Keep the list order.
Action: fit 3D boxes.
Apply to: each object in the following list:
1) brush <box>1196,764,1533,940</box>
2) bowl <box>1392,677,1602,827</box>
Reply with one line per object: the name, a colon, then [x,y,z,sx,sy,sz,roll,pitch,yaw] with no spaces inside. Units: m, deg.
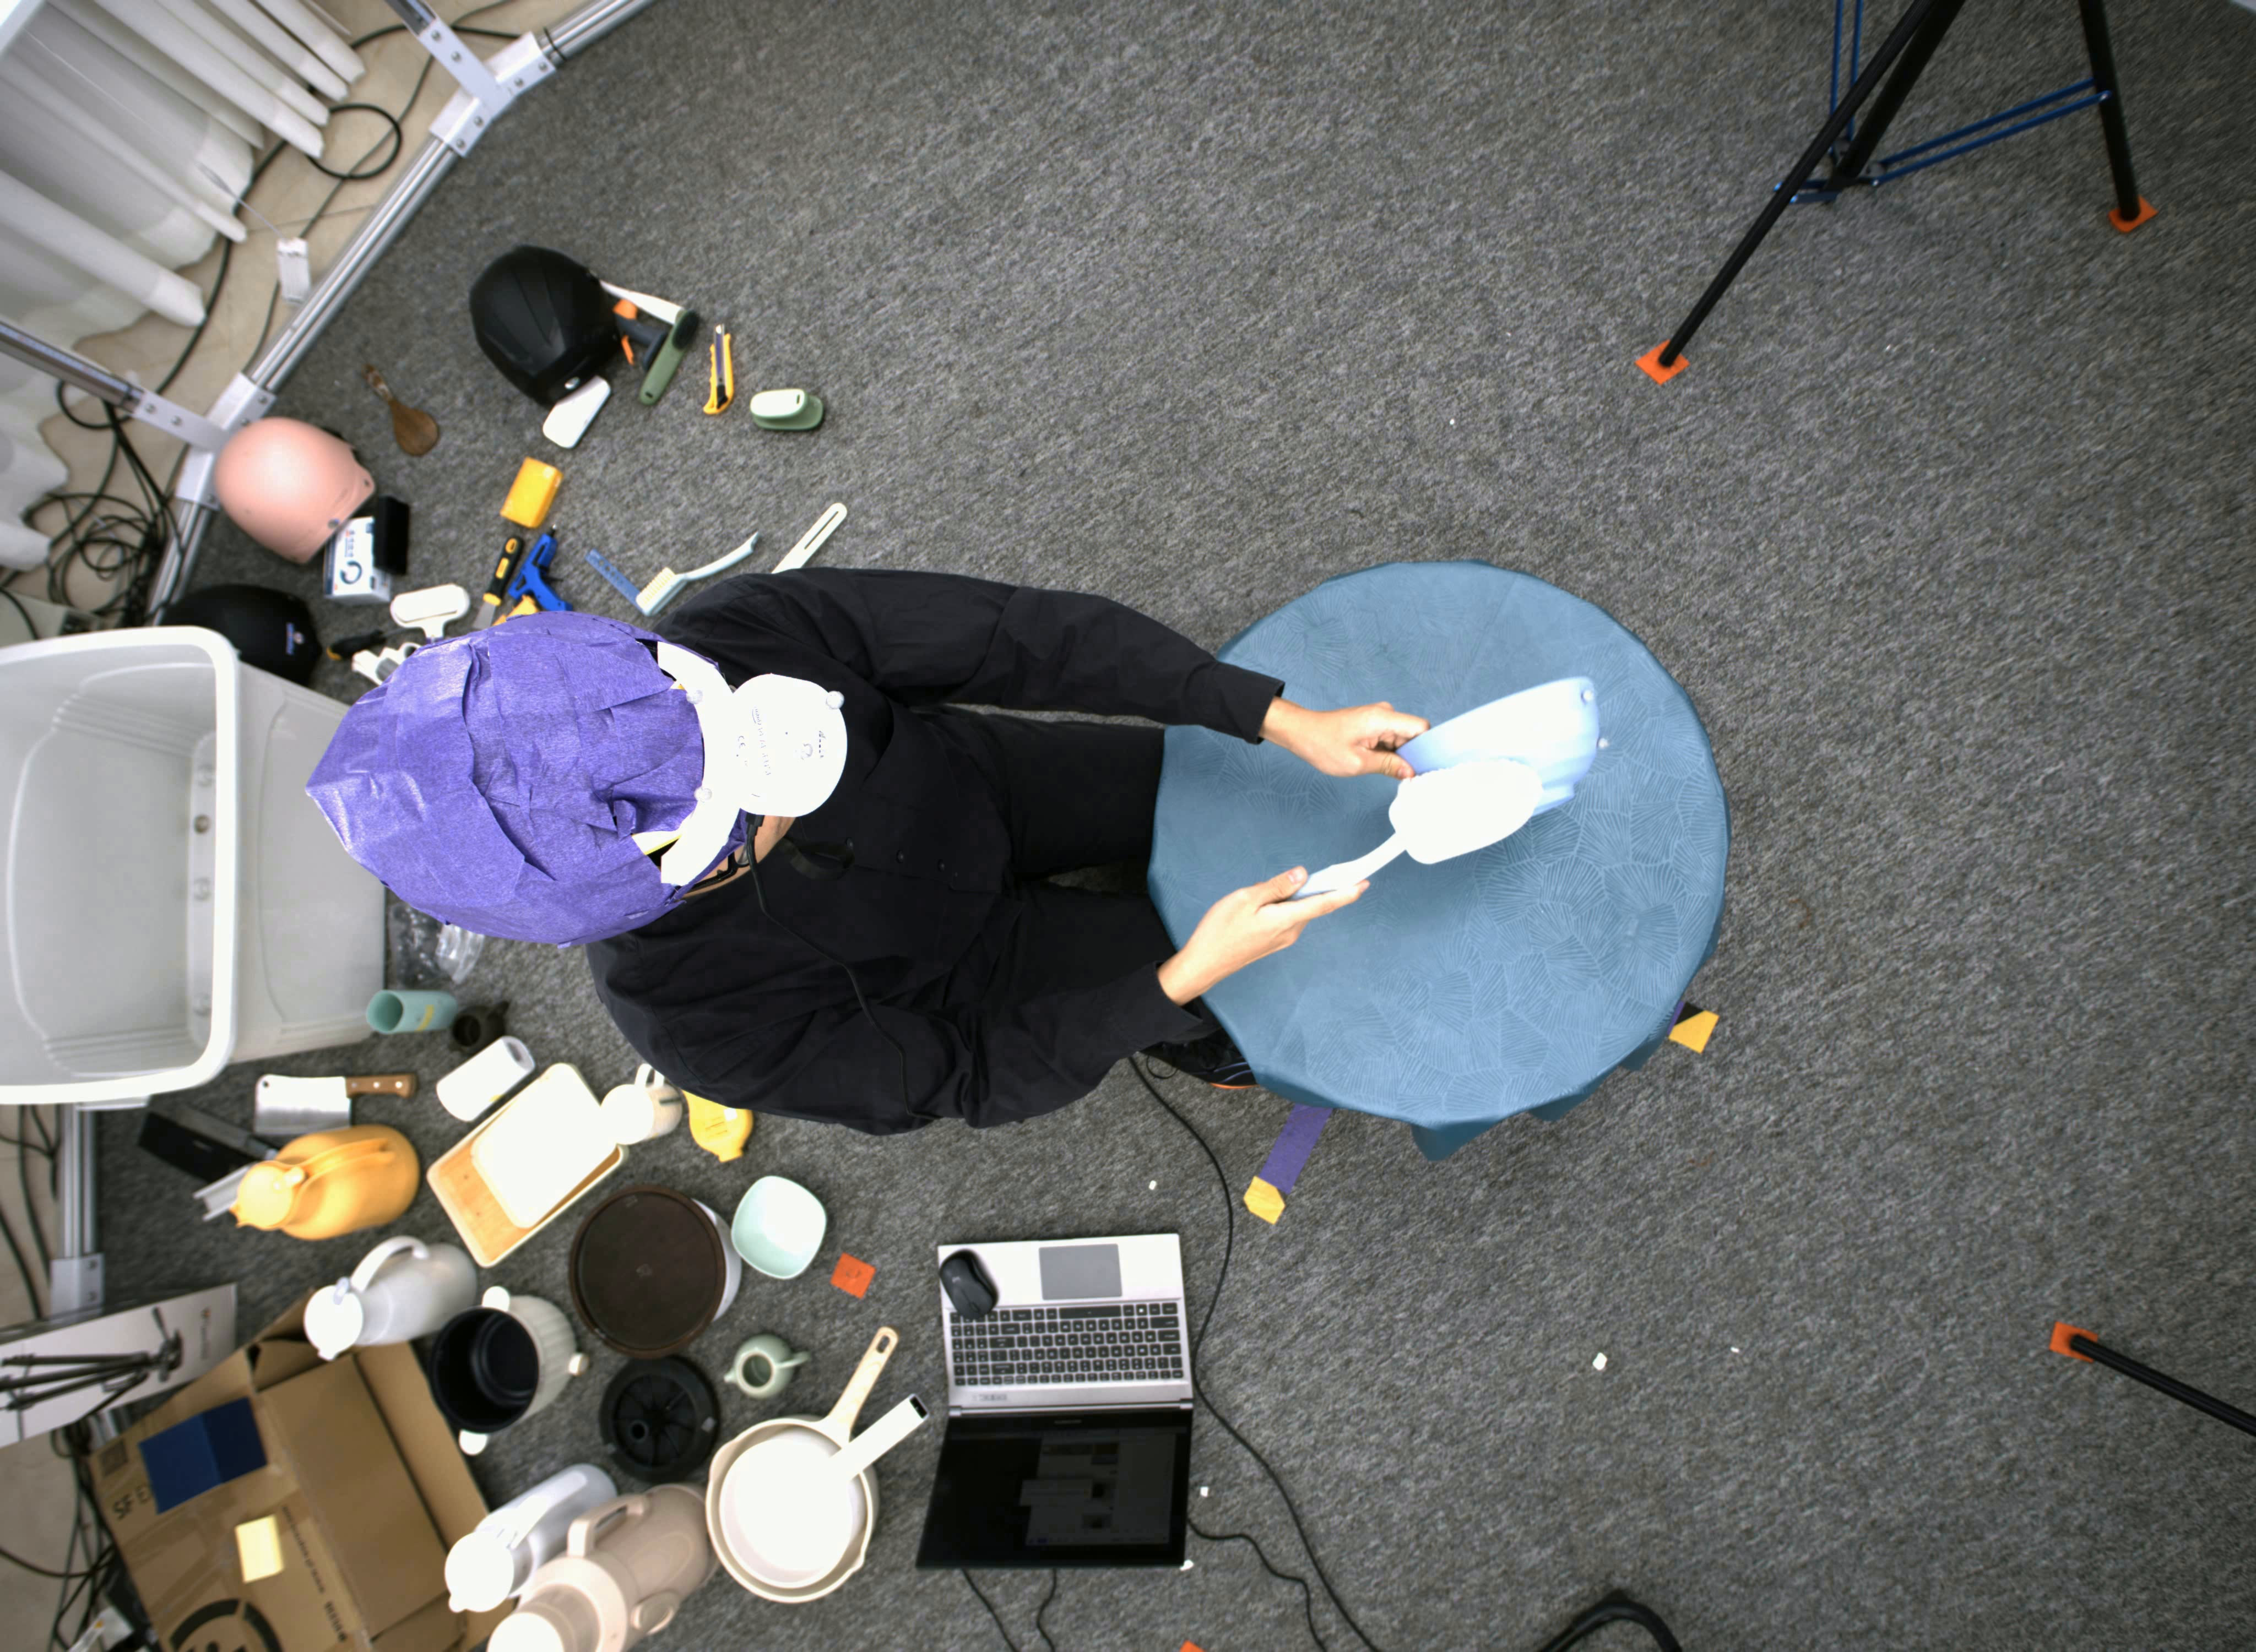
brush: [0.205,0.018,1.238,0.330,0.084,0.082,-24,71,26]
bowl: [0.352,-0.055,1.260,0.197,0.197,0.095,-22,81,7]
